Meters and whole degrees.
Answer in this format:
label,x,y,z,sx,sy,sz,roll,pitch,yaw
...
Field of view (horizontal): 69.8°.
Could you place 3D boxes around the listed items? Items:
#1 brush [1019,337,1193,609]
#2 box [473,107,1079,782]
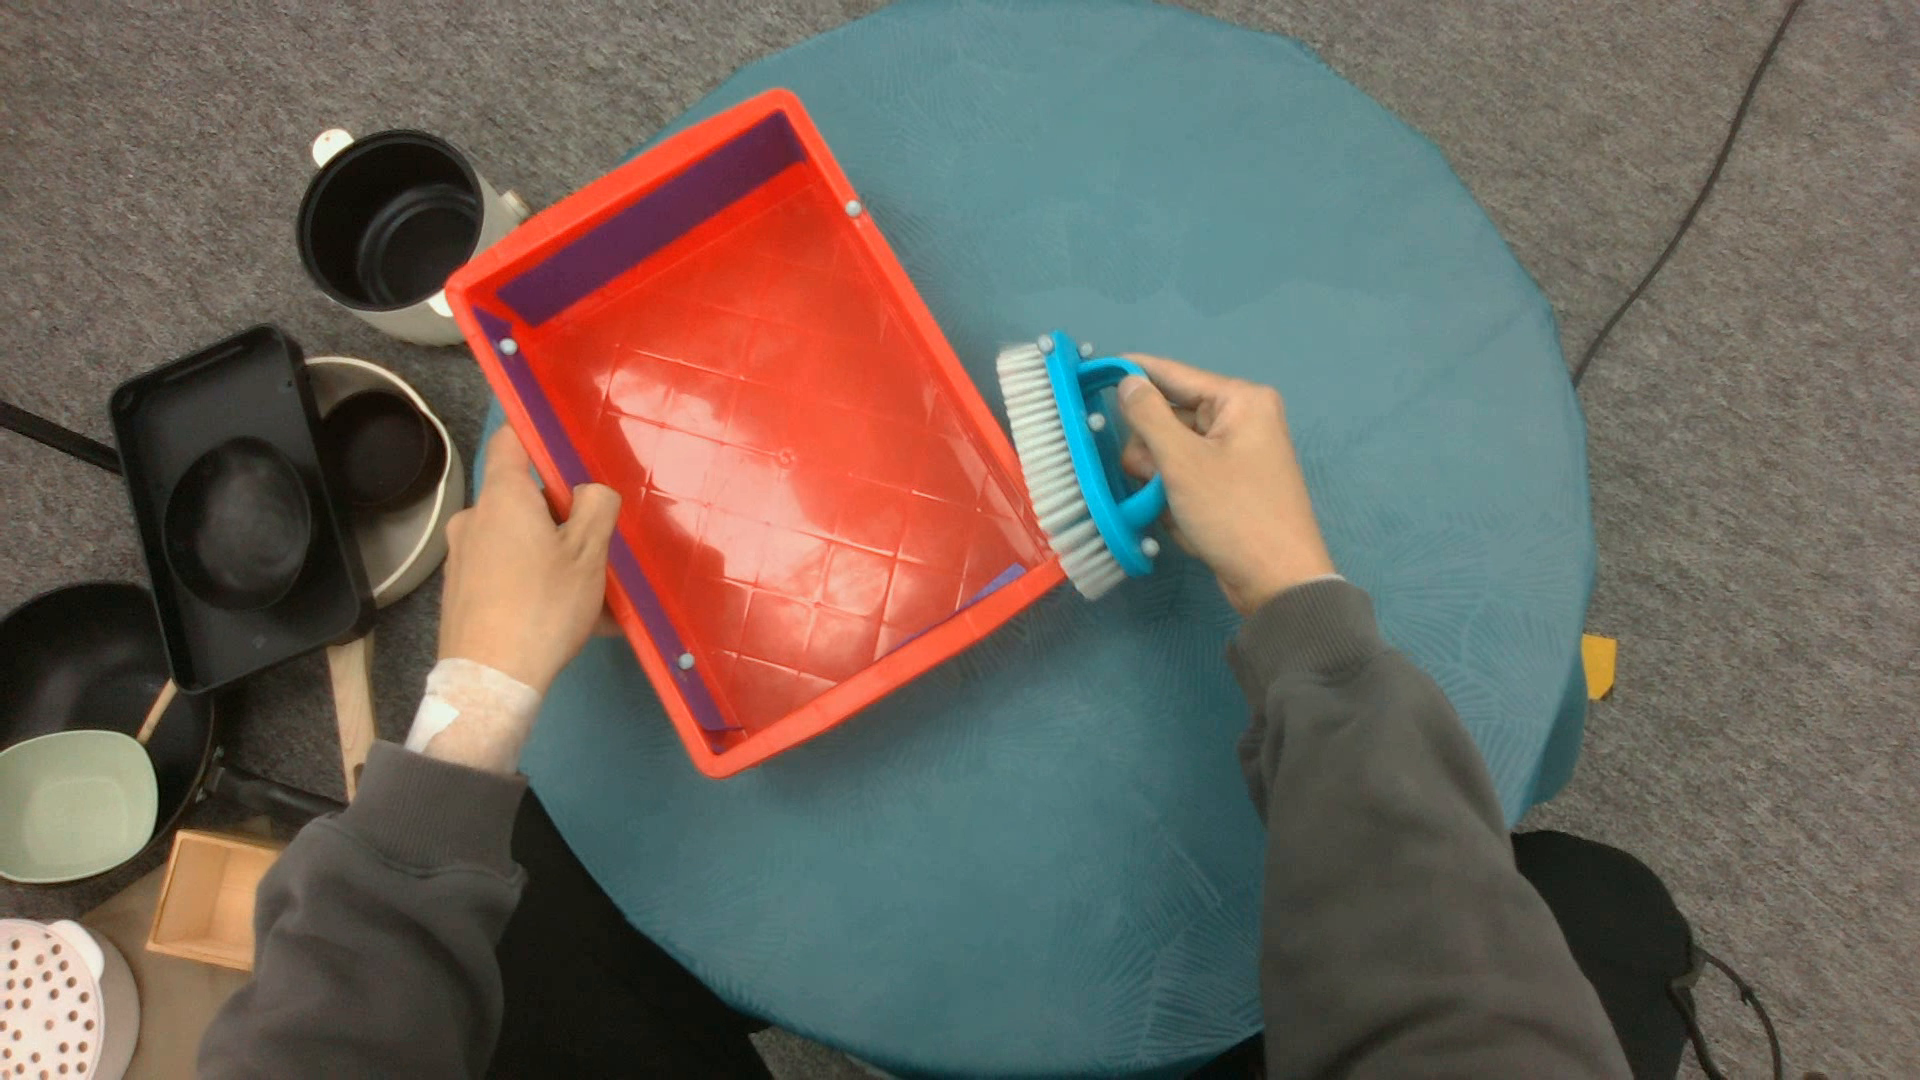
label,x,y,z,sx,sy,sz,roll,pitch,yaw
brush,0.077,-0.038,0.672,0.063,0.084,0.142,-22,53,16
box,-0.091,-0.047,0.726,0.206,0.096,0.304,-30,76,-1
